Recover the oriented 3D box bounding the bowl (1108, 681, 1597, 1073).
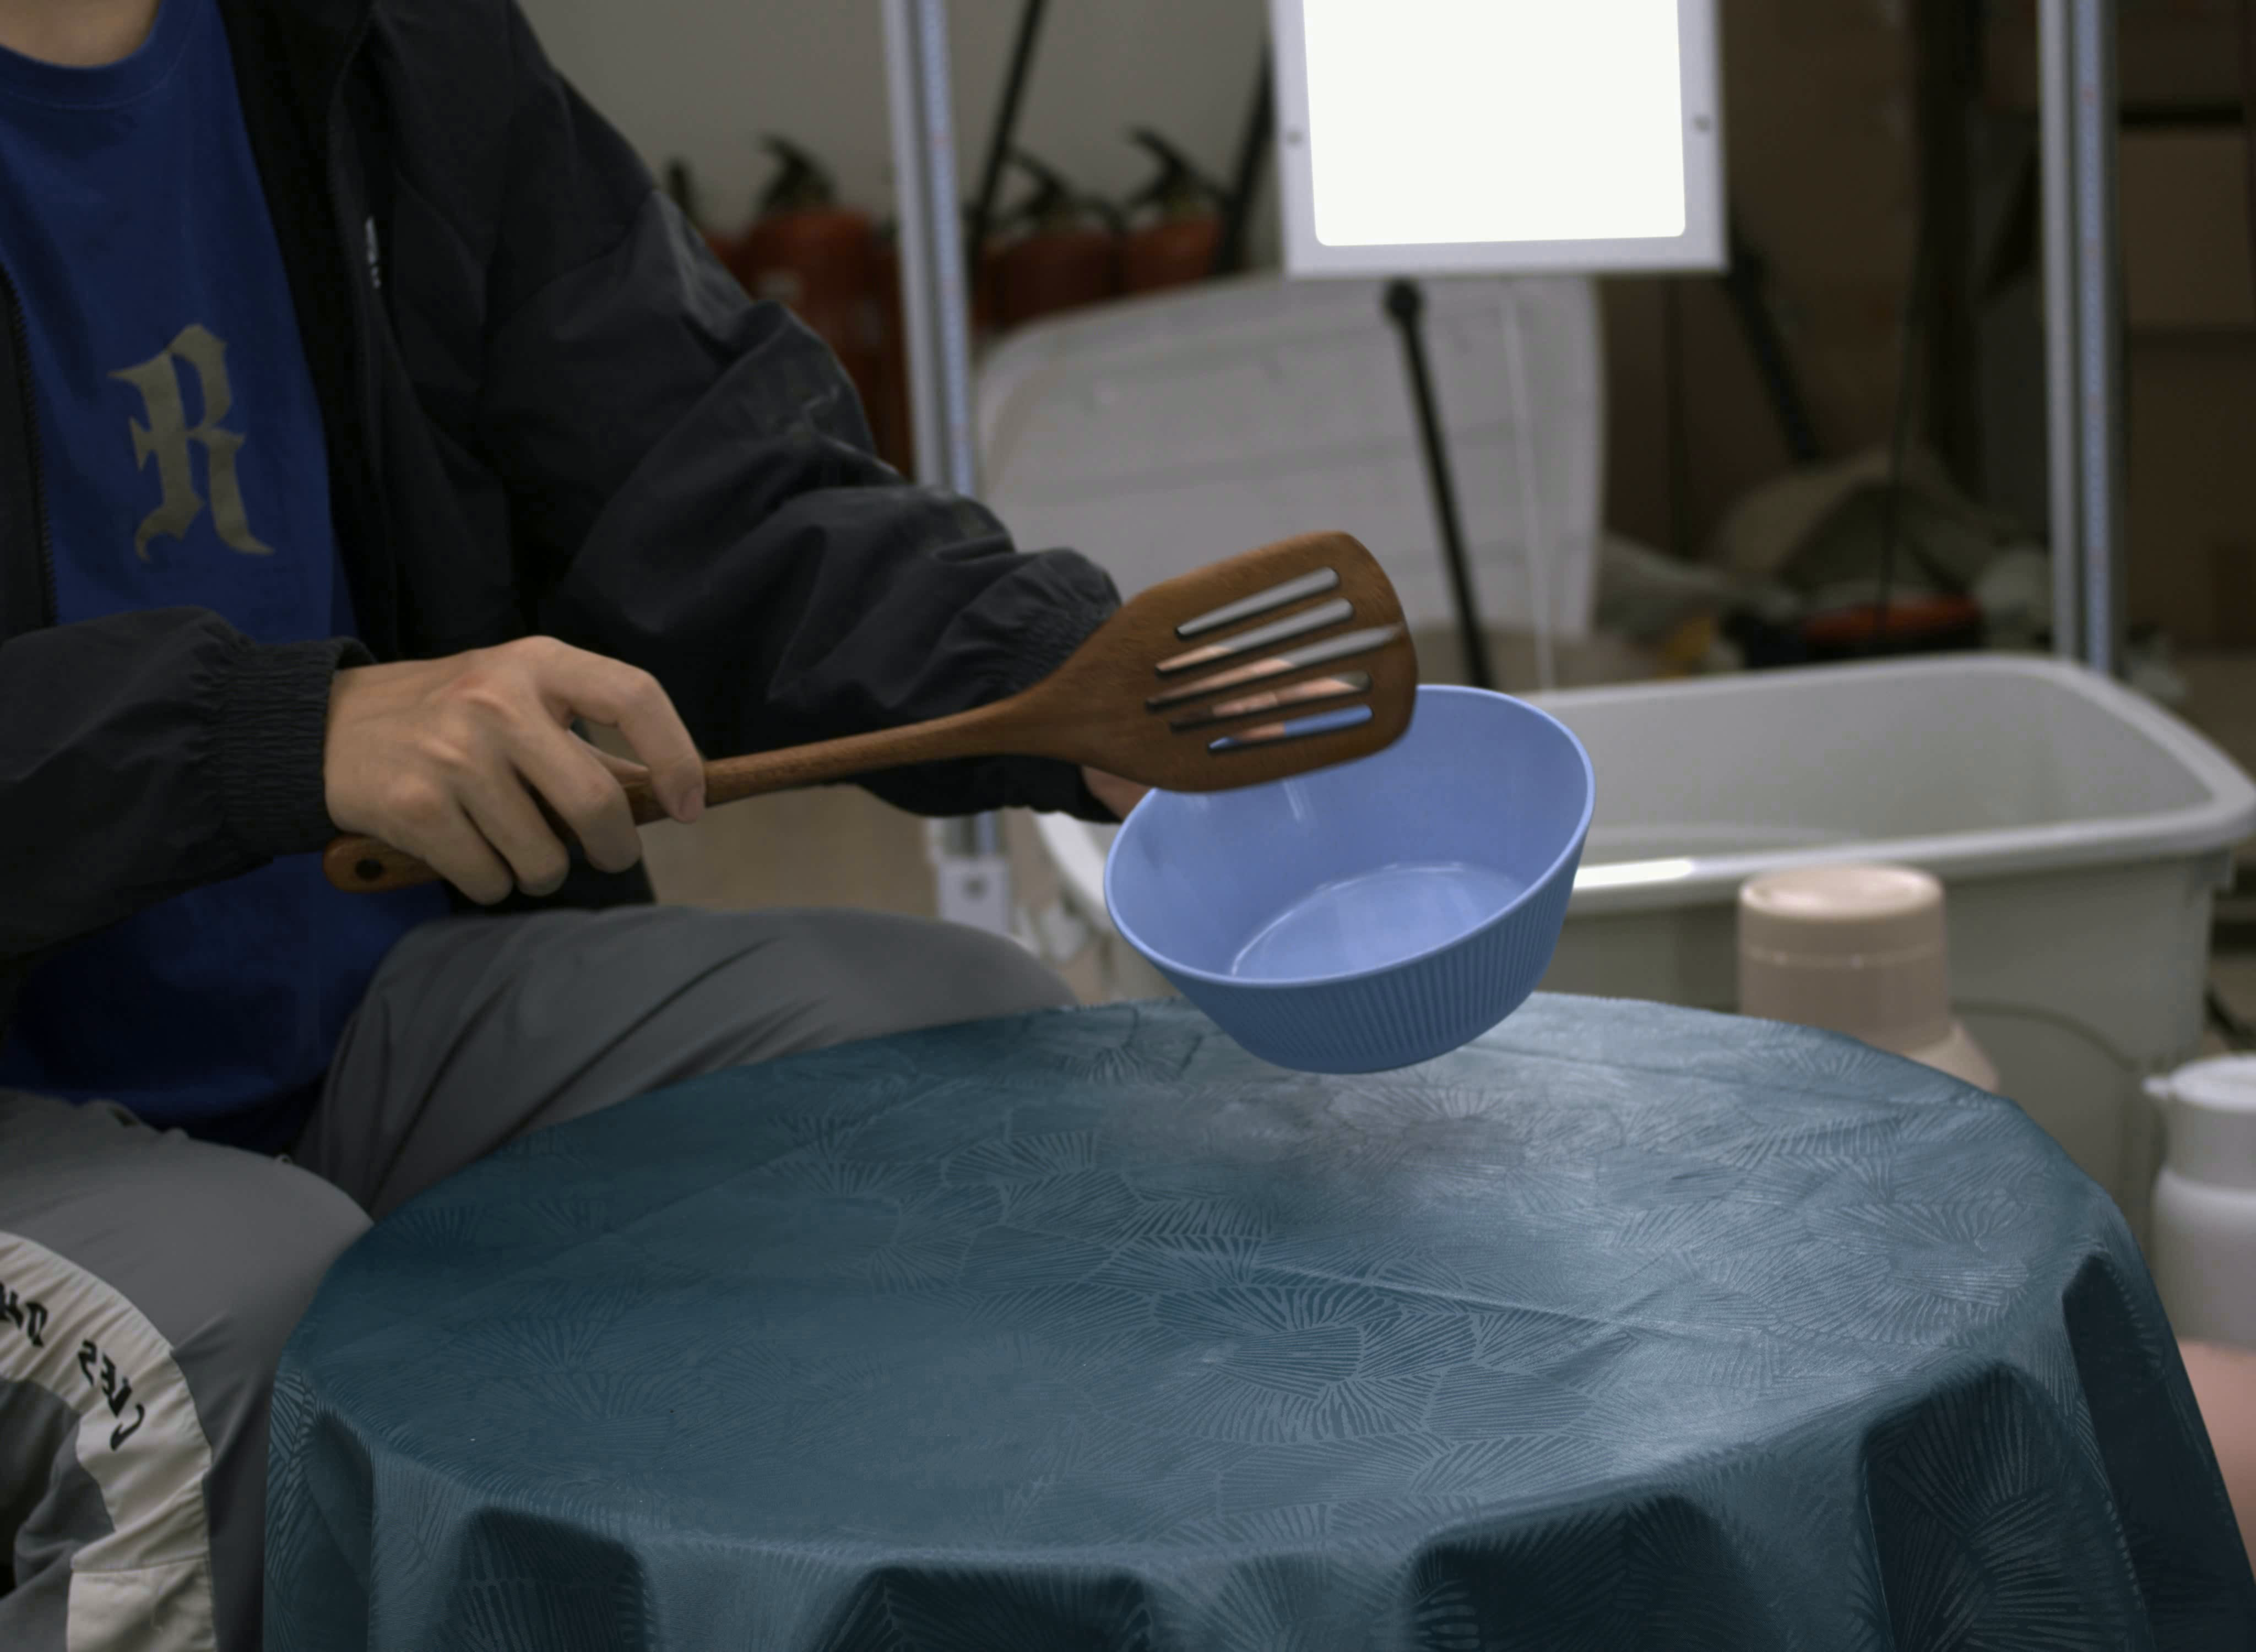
[{"bbox_3d":[0.085,0.026,1.916,0.177,0.070,0.175,-15,32,8],"label":"bowl"}]

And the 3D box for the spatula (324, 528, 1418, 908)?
[{"bbox_3d":[-0.092,-0.022,1.876,0.389,0.085,0.024,-13,19,12],"label":"spatula"}]
